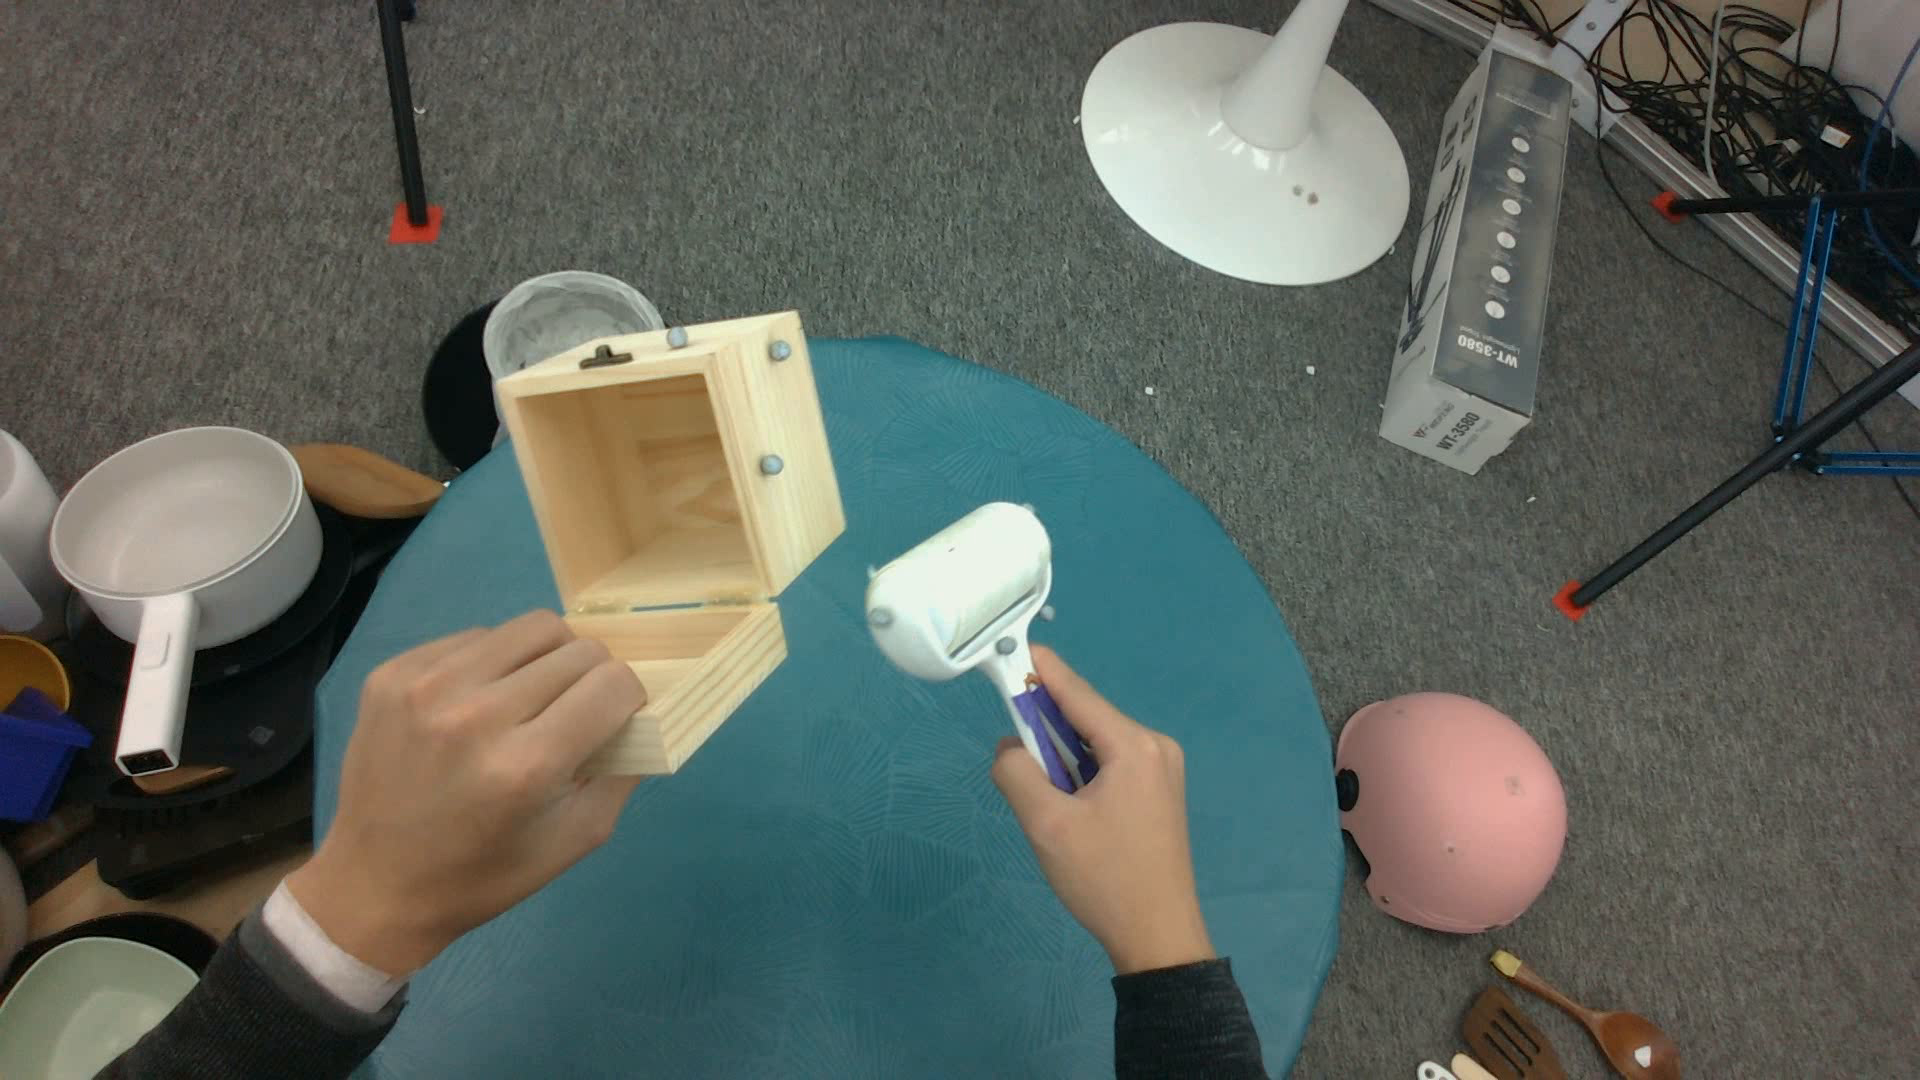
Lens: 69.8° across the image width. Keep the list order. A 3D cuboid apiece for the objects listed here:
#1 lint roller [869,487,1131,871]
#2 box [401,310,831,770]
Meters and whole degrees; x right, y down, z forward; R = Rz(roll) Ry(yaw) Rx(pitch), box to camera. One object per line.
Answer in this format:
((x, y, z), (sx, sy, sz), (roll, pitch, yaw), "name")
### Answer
((0.037, 0.065, 0.615), (0.181, 0.050, 0.133), (57, 28, 2), "lint roller")
((-0.137, -0.008, 0.545), (0.102, 0.133, 0.185), (-4, 20, 18), "box")
